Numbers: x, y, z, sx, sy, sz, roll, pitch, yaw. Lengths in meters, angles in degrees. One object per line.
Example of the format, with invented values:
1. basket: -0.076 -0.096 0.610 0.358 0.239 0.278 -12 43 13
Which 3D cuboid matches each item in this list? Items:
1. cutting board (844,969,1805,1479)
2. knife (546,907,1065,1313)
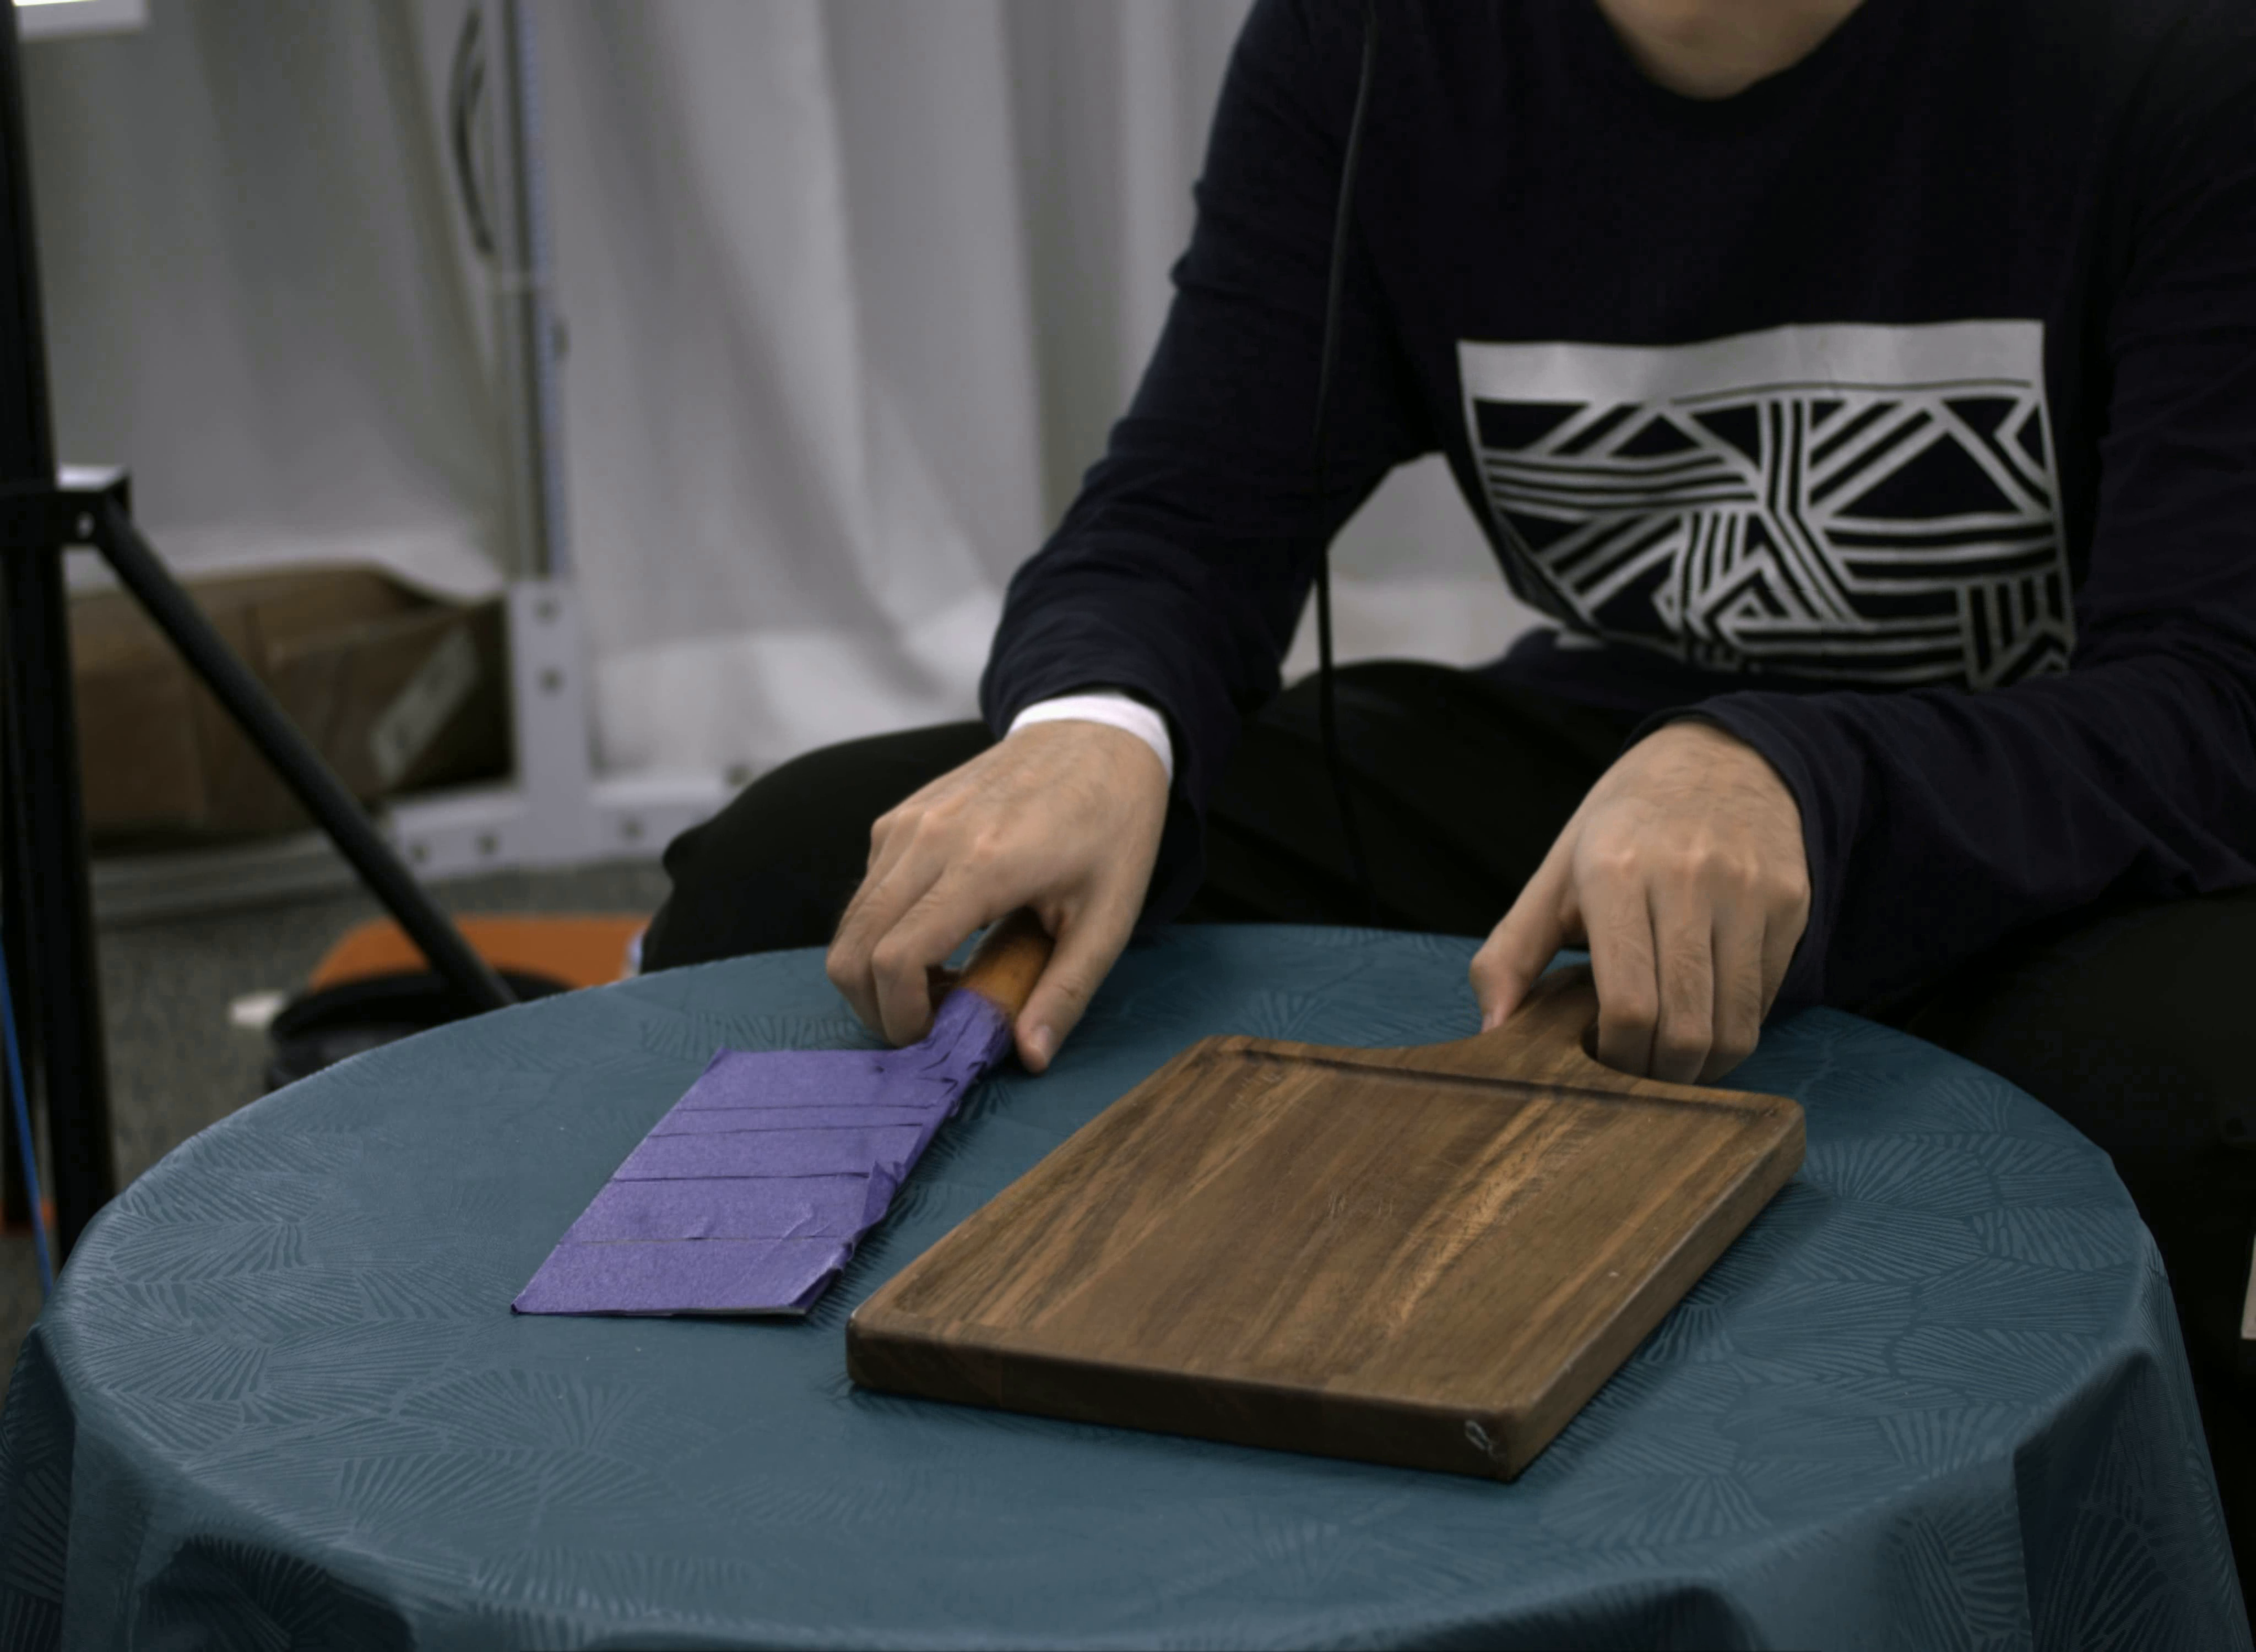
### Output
1. cutting board: 0.081 0.102 1.521 0.204 0.023 0.347 5 18 25
2. knife: -0.095 0.083 1.616 0.104 0.032 0.313 0 16 13
